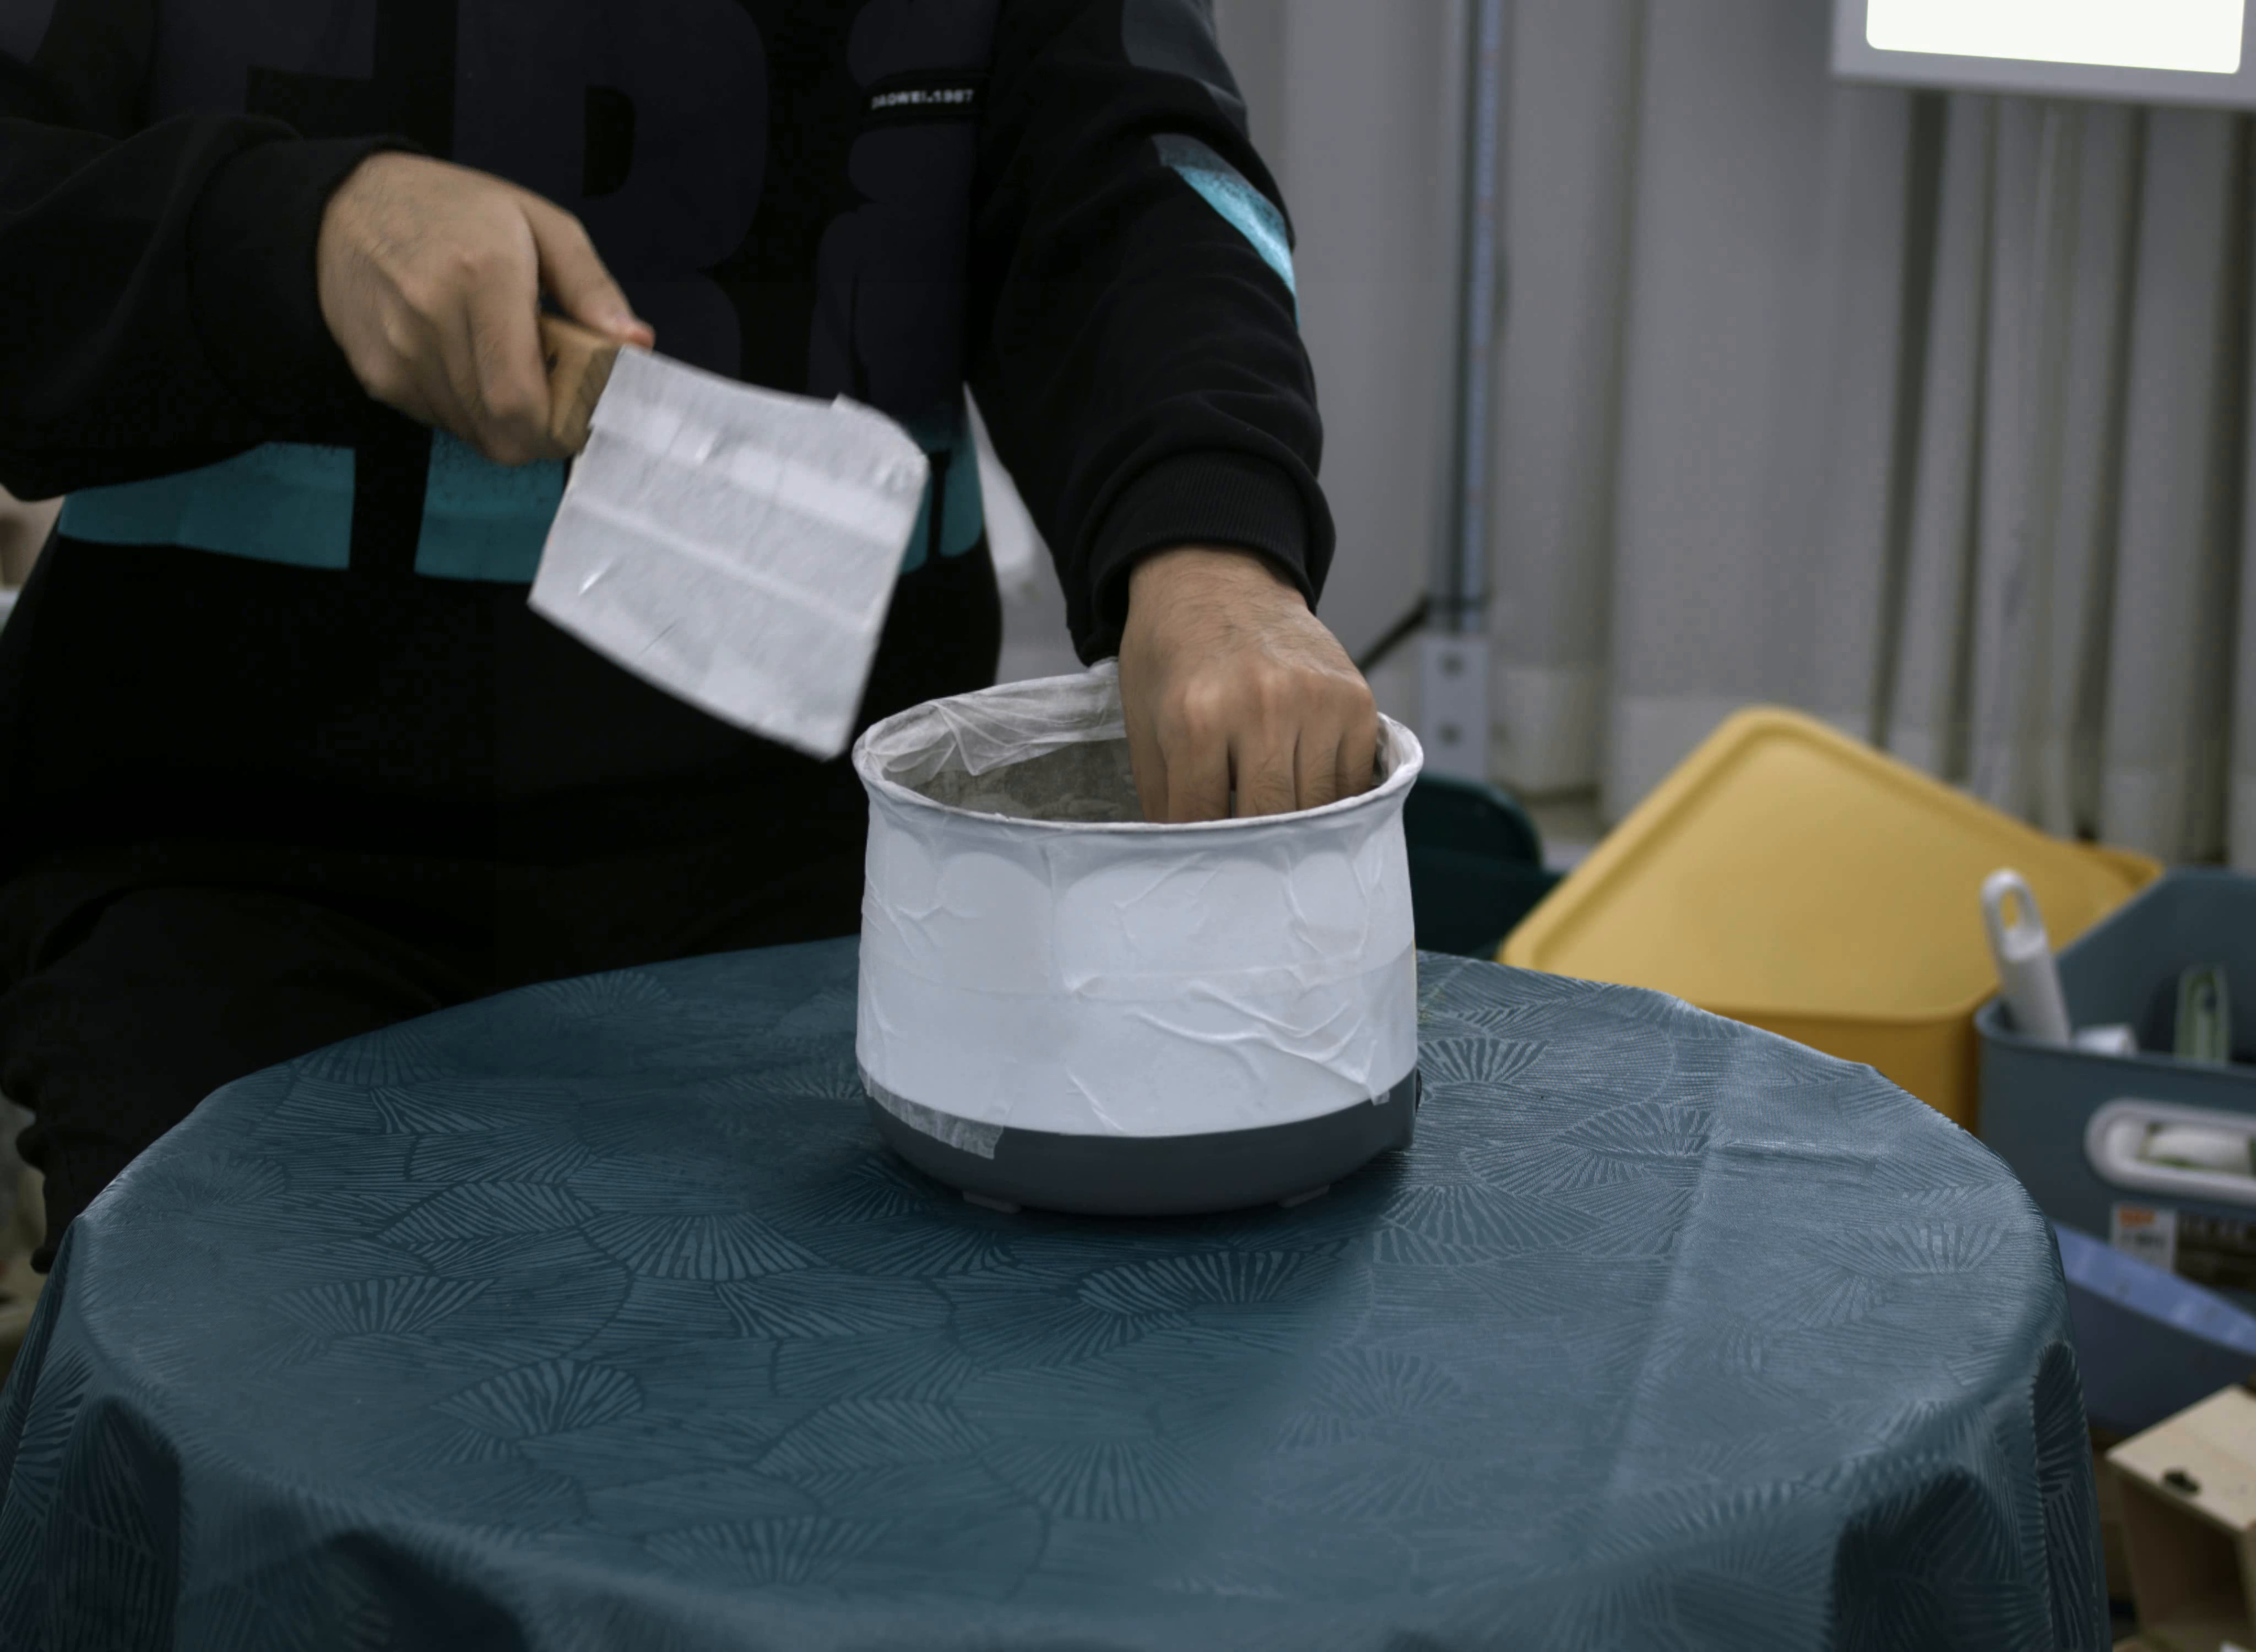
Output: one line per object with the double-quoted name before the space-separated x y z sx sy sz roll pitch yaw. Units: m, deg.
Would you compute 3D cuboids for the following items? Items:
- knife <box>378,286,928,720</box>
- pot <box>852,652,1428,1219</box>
"knife" -0.148 -0.114 1.591 0.022 0.114 0.311 14 11 -38
"pot" 0.000 0.029 1.663 0.178 0.138 0.232 -1 17 -6
